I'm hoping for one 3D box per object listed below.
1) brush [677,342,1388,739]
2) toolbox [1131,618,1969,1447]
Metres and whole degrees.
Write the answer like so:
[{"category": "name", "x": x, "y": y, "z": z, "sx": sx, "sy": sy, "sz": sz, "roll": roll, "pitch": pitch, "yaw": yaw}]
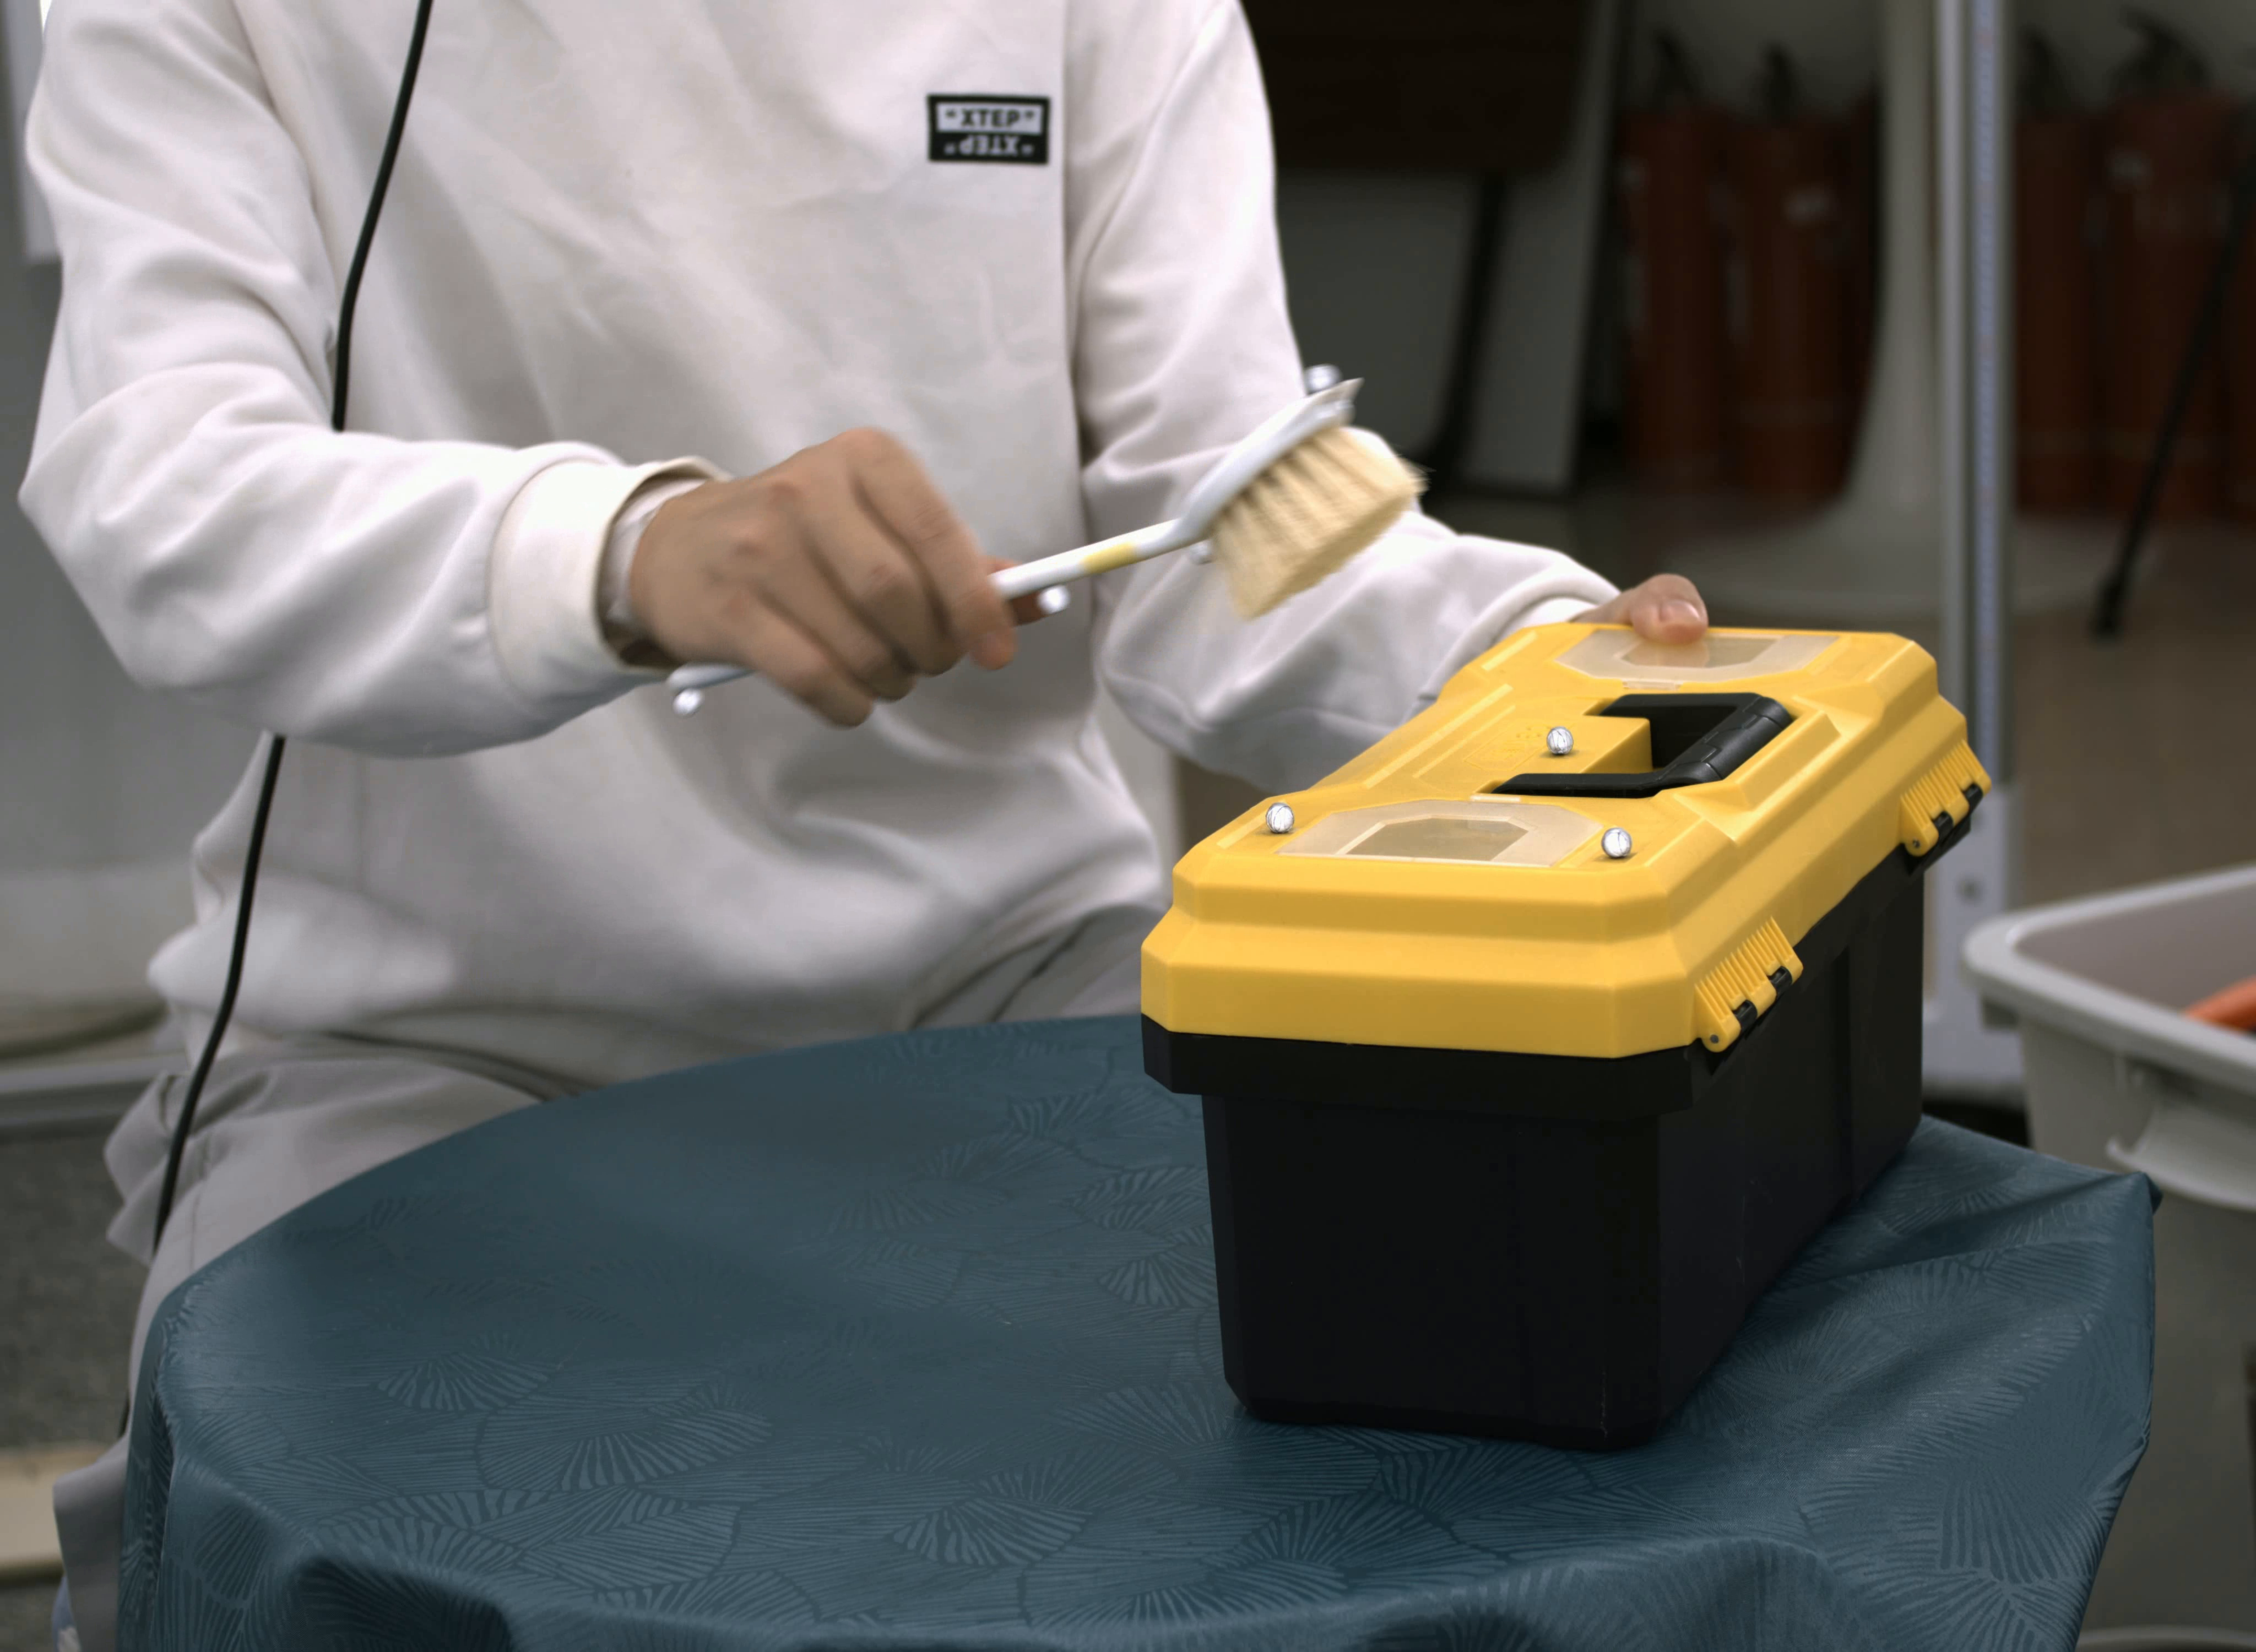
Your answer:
[{"category": "brush", "x": -0.031, "y": -0.063, "z": 1.630, "sx": 0.268, "sy": 0.057, "sz": 0.067, "roll": -29, "pitch": -16, "yaw": 33}, {"category": "toolbox", "x": 0.139, "y": 0.054, "z": 1.645, "sx": 0.181, "sy": 0.175, "sz": 0.347, "roll": 3, "pitch": 14, "yaw": 23}]
